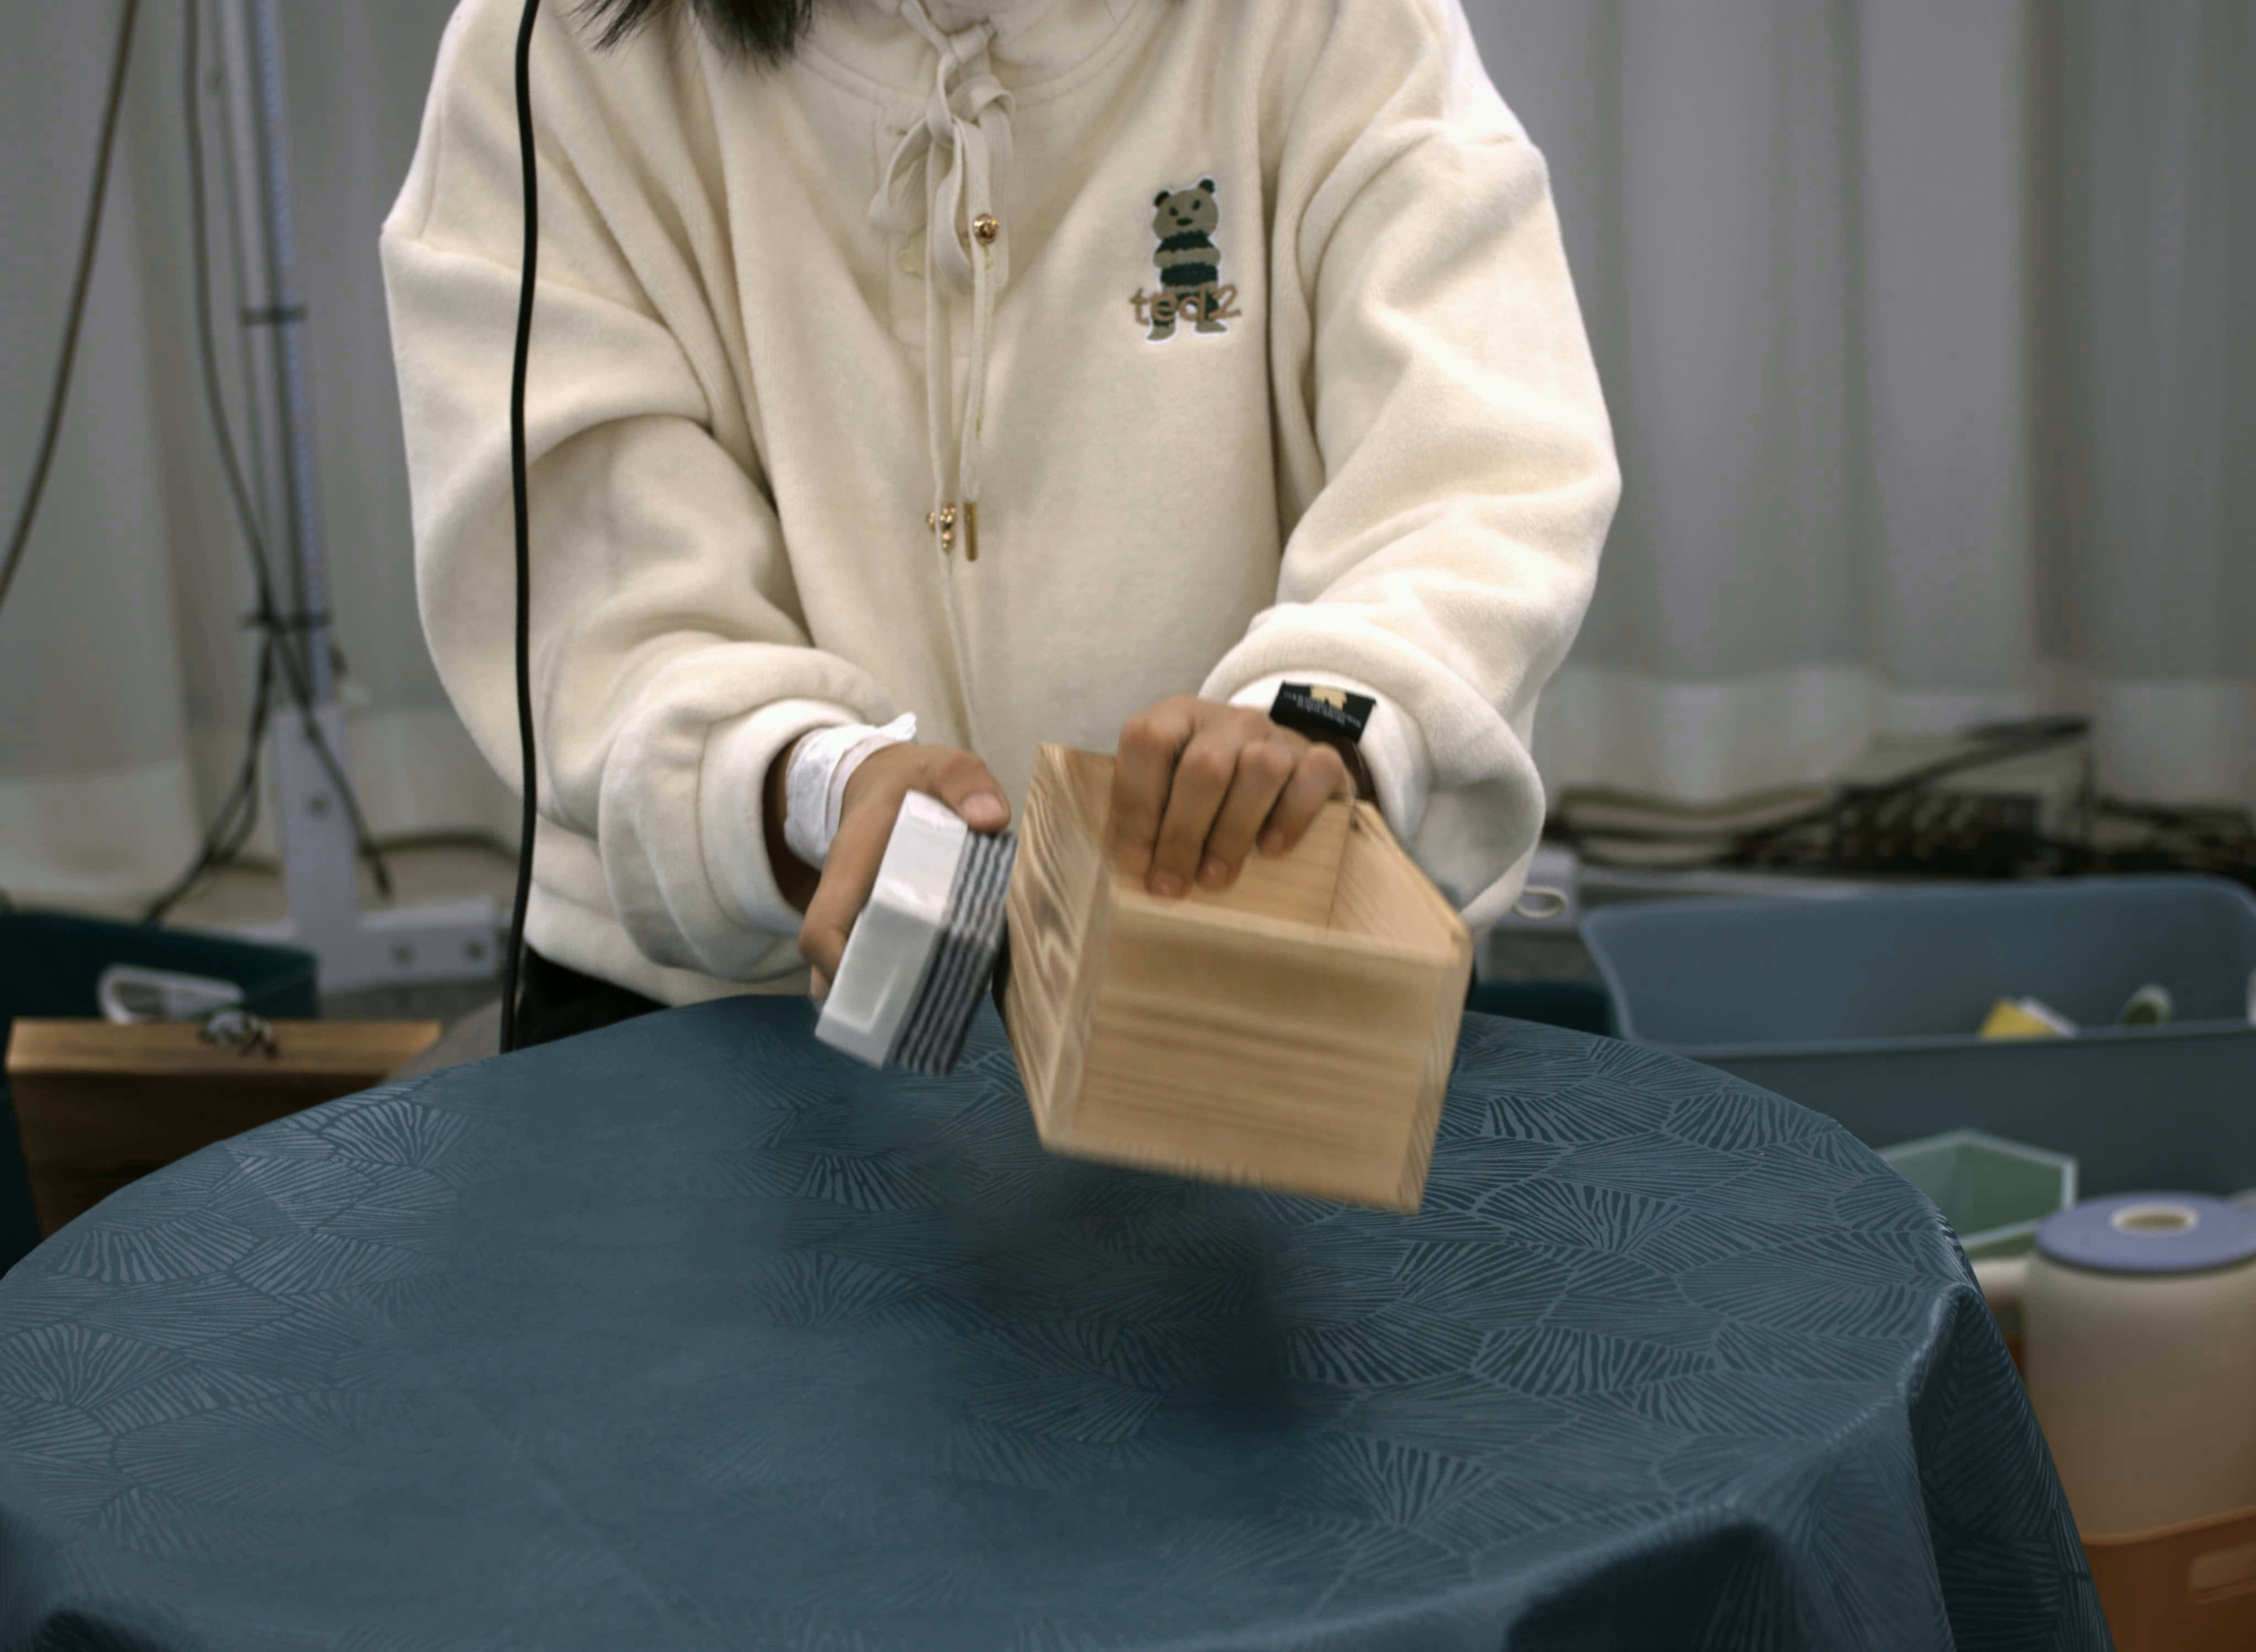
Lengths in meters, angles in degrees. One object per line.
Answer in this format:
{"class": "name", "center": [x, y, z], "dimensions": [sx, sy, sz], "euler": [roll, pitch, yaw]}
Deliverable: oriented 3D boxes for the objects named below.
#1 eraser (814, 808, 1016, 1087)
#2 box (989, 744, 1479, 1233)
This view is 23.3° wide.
{"class": "eraser", "center": [-0.064, 0.037, 1.694], "dimensions": [0.046, 0.049, 0.135], "euler": [20, 12, -4]}
{"class": "box", "center": [0.026, 0.043, 1.575], "dimensions": [0.107, 0.080, 0.212], "euler": [11, 9, -8]}
